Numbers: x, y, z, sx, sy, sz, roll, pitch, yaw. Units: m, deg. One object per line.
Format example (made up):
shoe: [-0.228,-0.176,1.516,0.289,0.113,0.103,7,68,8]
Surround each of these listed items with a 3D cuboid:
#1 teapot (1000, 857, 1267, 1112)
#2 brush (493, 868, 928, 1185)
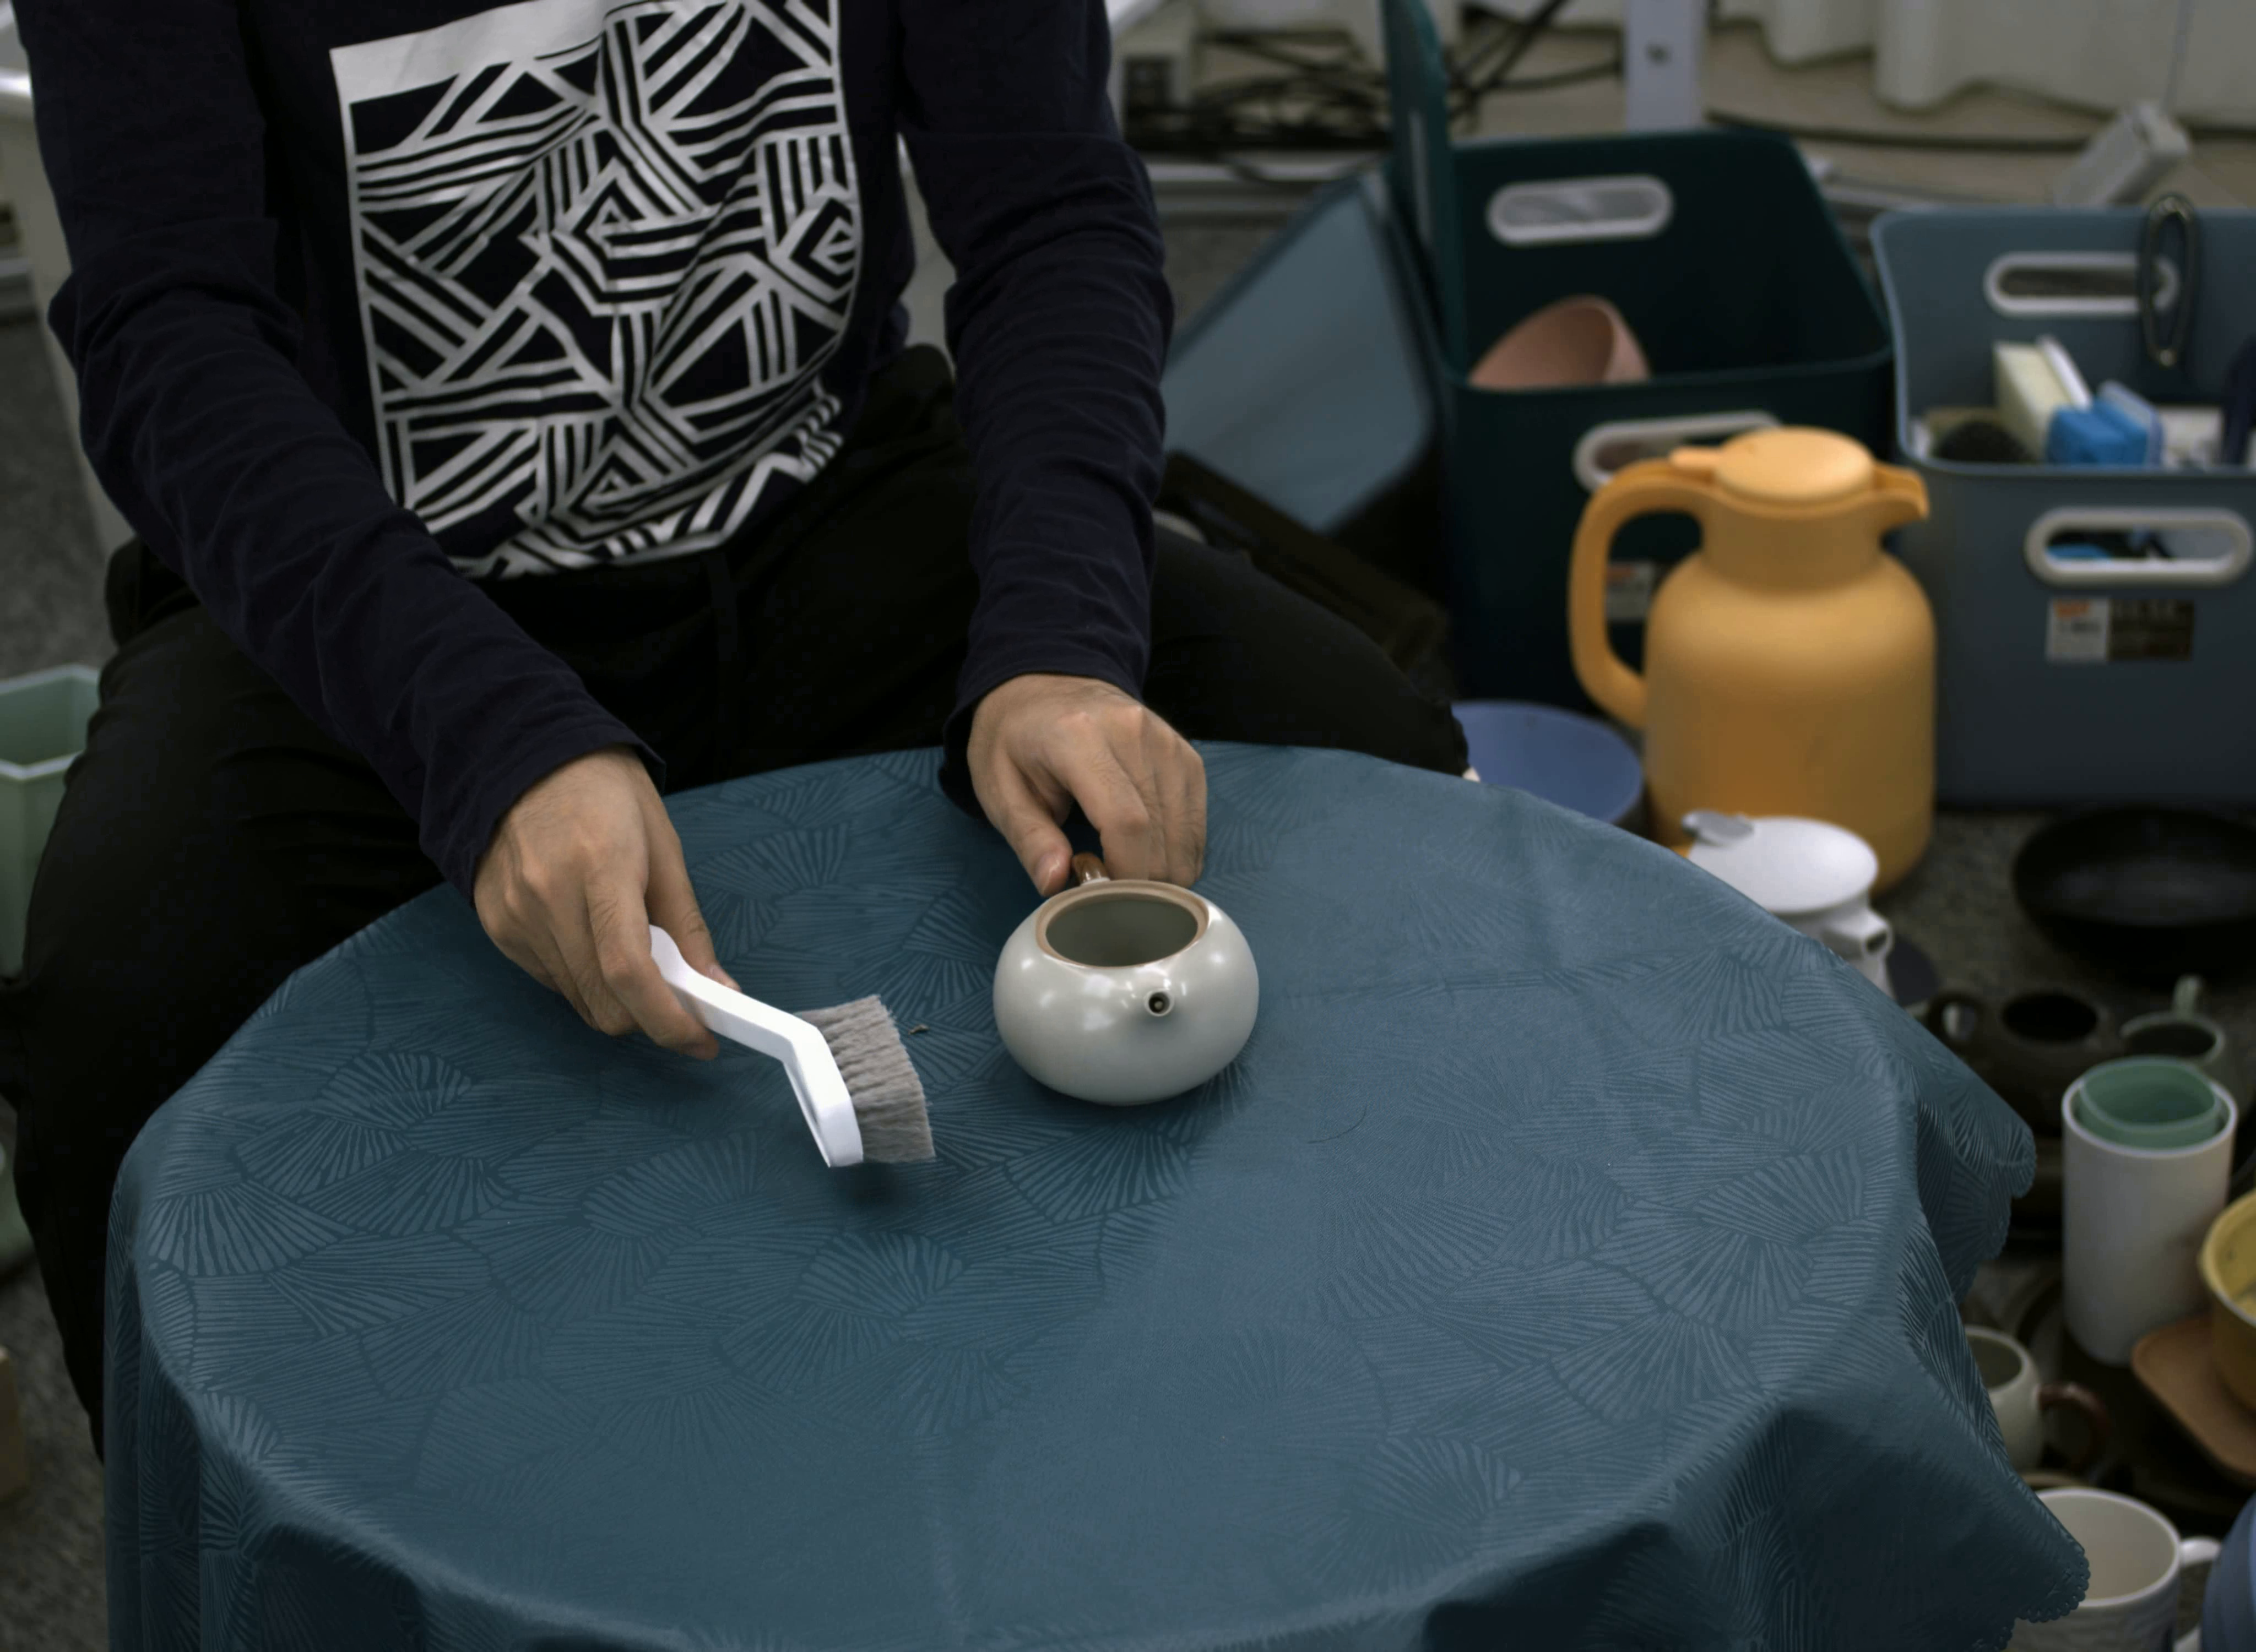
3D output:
teapot: [-0.001,0.055,1.928,0.092,0.059,0.129,-12,29,-12]
brush: [-0.142,0.058,1.926,0.050,0.034,0.244,-27,35,-25]
